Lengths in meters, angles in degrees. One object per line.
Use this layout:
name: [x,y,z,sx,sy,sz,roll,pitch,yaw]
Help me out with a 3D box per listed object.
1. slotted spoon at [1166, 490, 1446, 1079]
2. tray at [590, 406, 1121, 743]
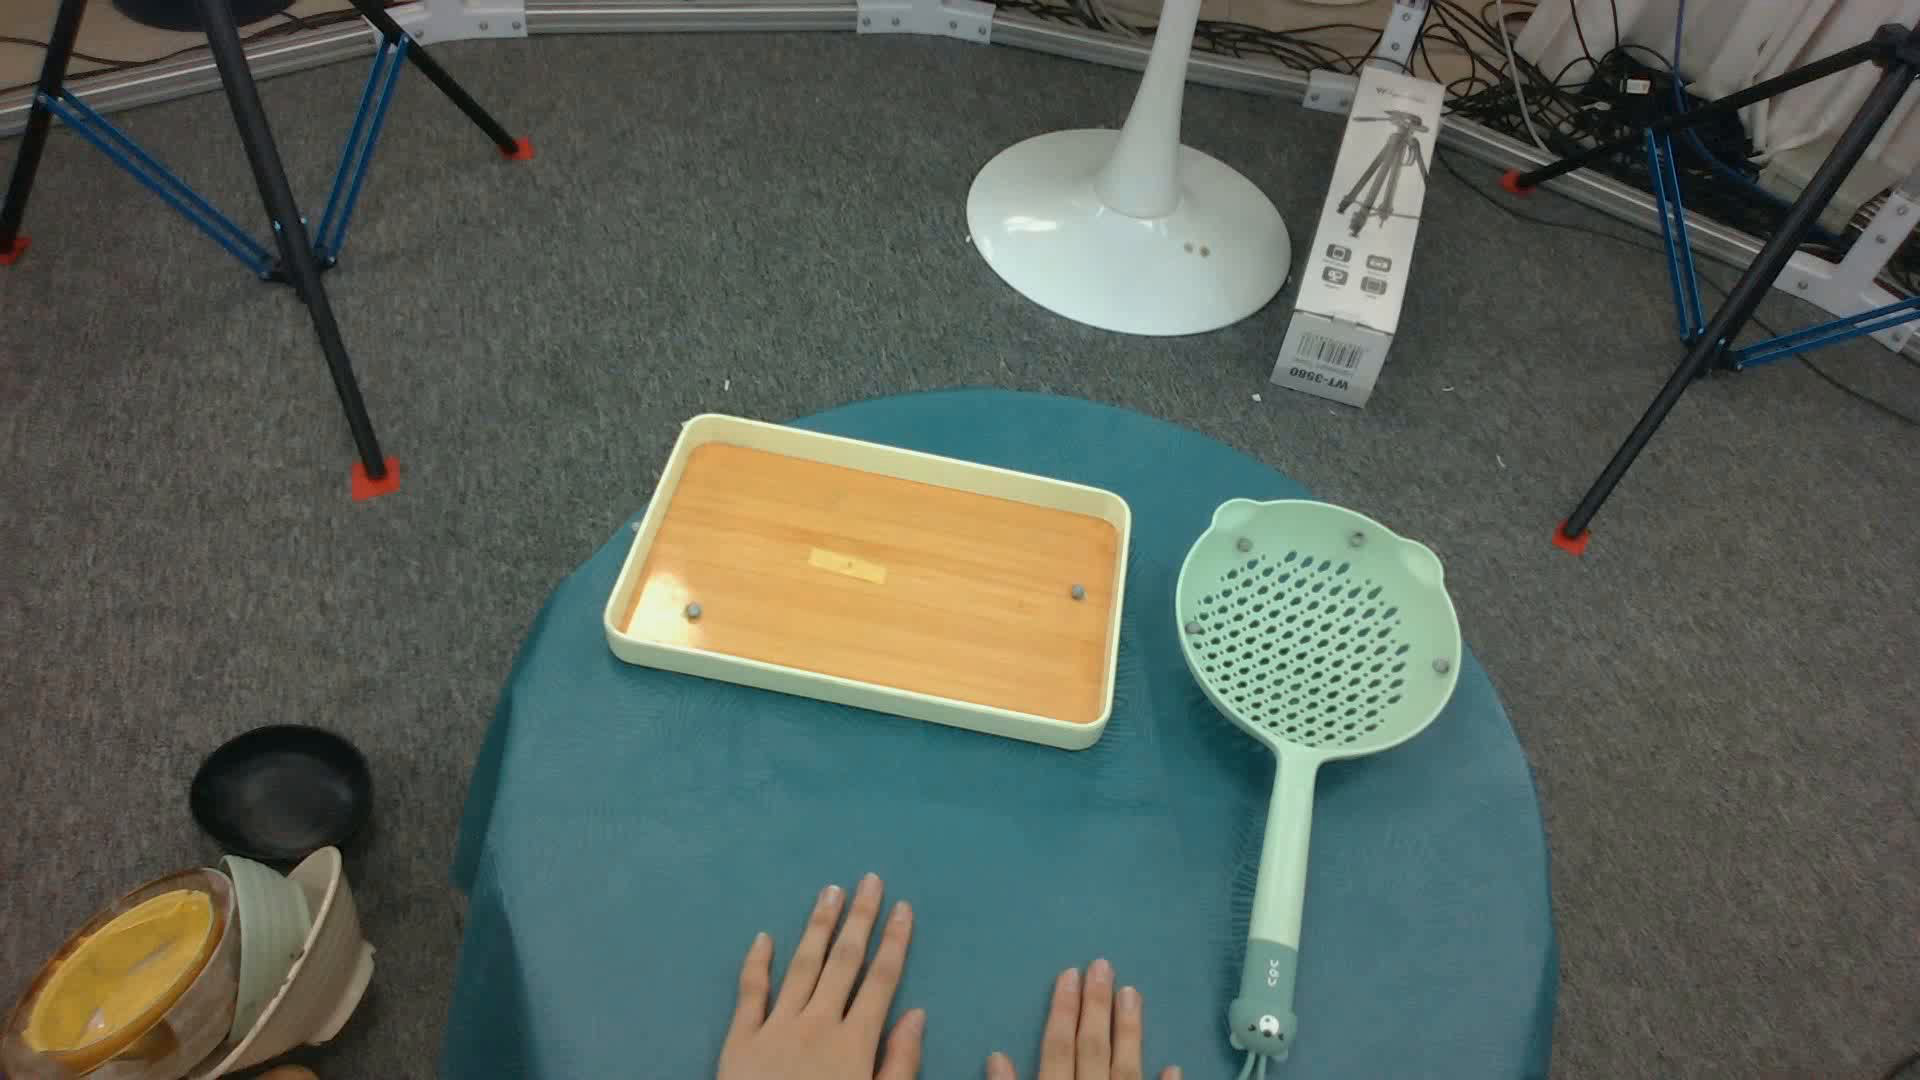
slotted spoon: [0.179,0.127,0.771,0.169,0.075,0.361,15,49,4]
tray: [-0.055,0.015,0.851,0.300,0.027,0.192,11,49,1]
